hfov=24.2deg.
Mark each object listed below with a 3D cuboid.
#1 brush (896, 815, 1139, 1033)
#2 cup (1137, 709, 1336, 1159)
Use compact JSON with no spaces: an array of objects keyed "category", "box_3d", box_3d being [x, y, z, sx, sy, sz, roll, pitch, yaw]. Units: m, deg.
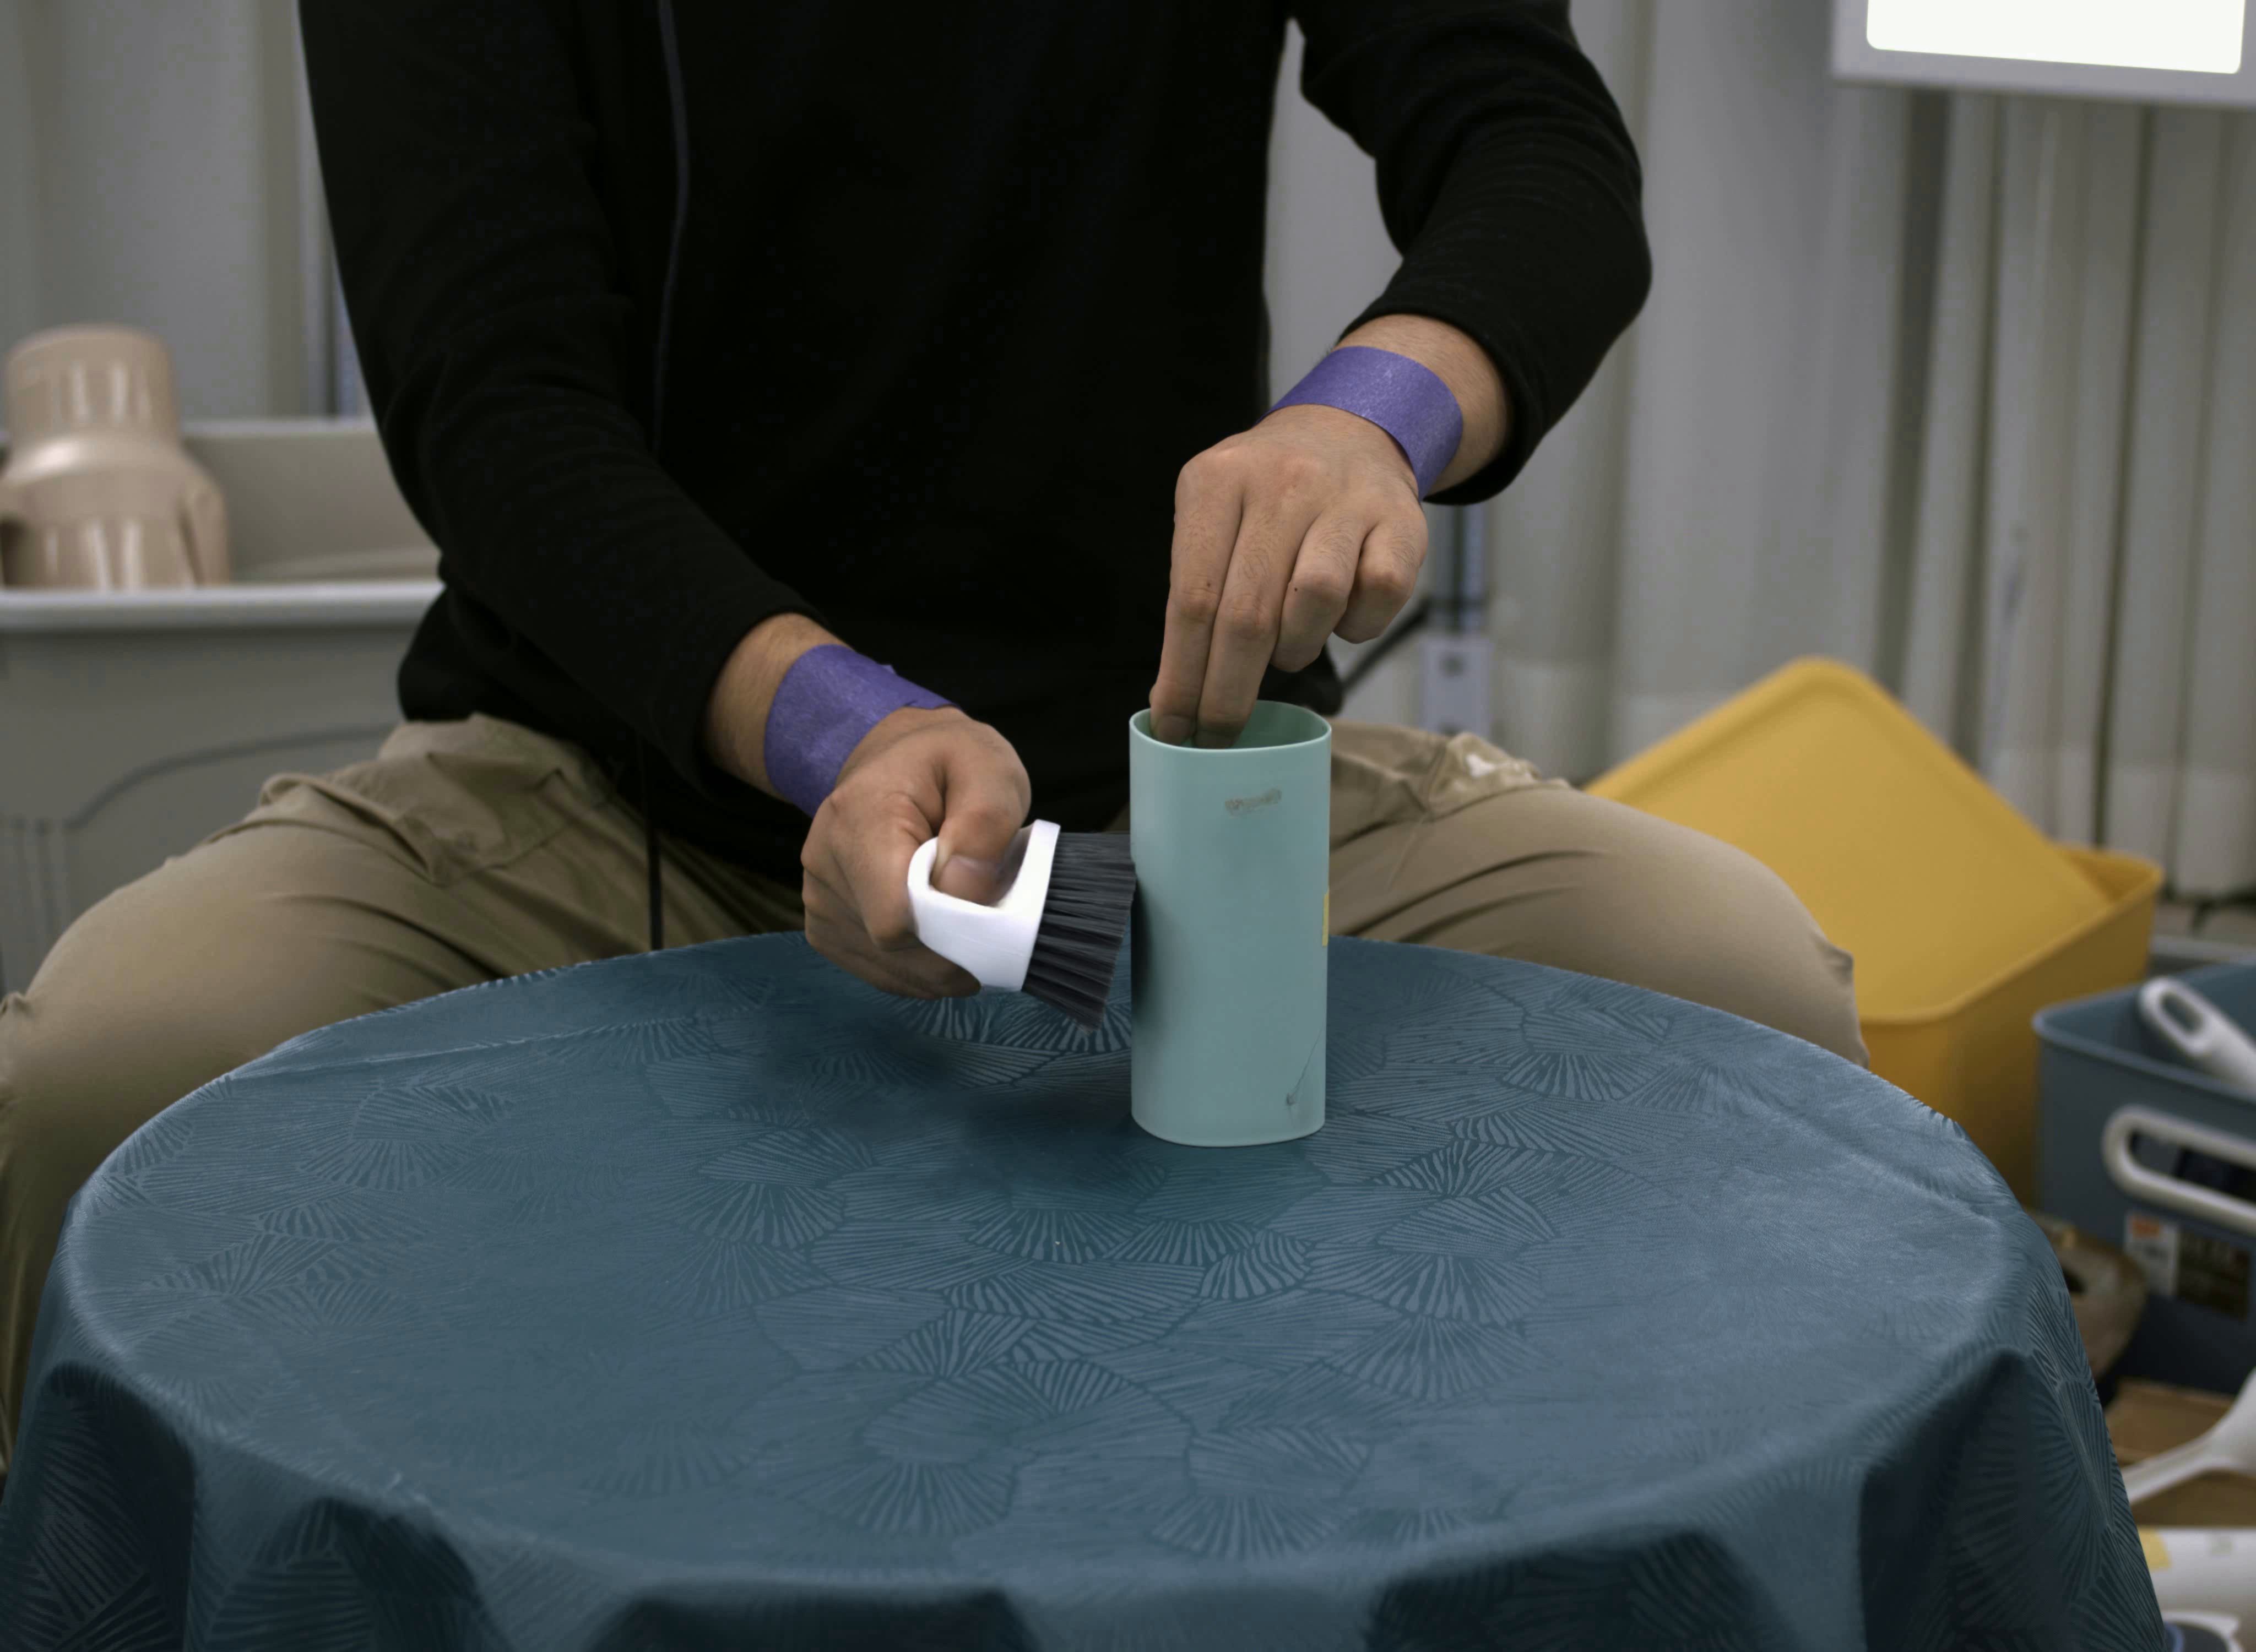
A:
[{"category":"brush","box_3d":[-0.037,0.026,1.676,0.072,0.050,0.099,13,18,-1]},{"category":"cup","box_3d":[0.032,0.034,1.675,0.066,0.133,0.066,0,17,0]}]
